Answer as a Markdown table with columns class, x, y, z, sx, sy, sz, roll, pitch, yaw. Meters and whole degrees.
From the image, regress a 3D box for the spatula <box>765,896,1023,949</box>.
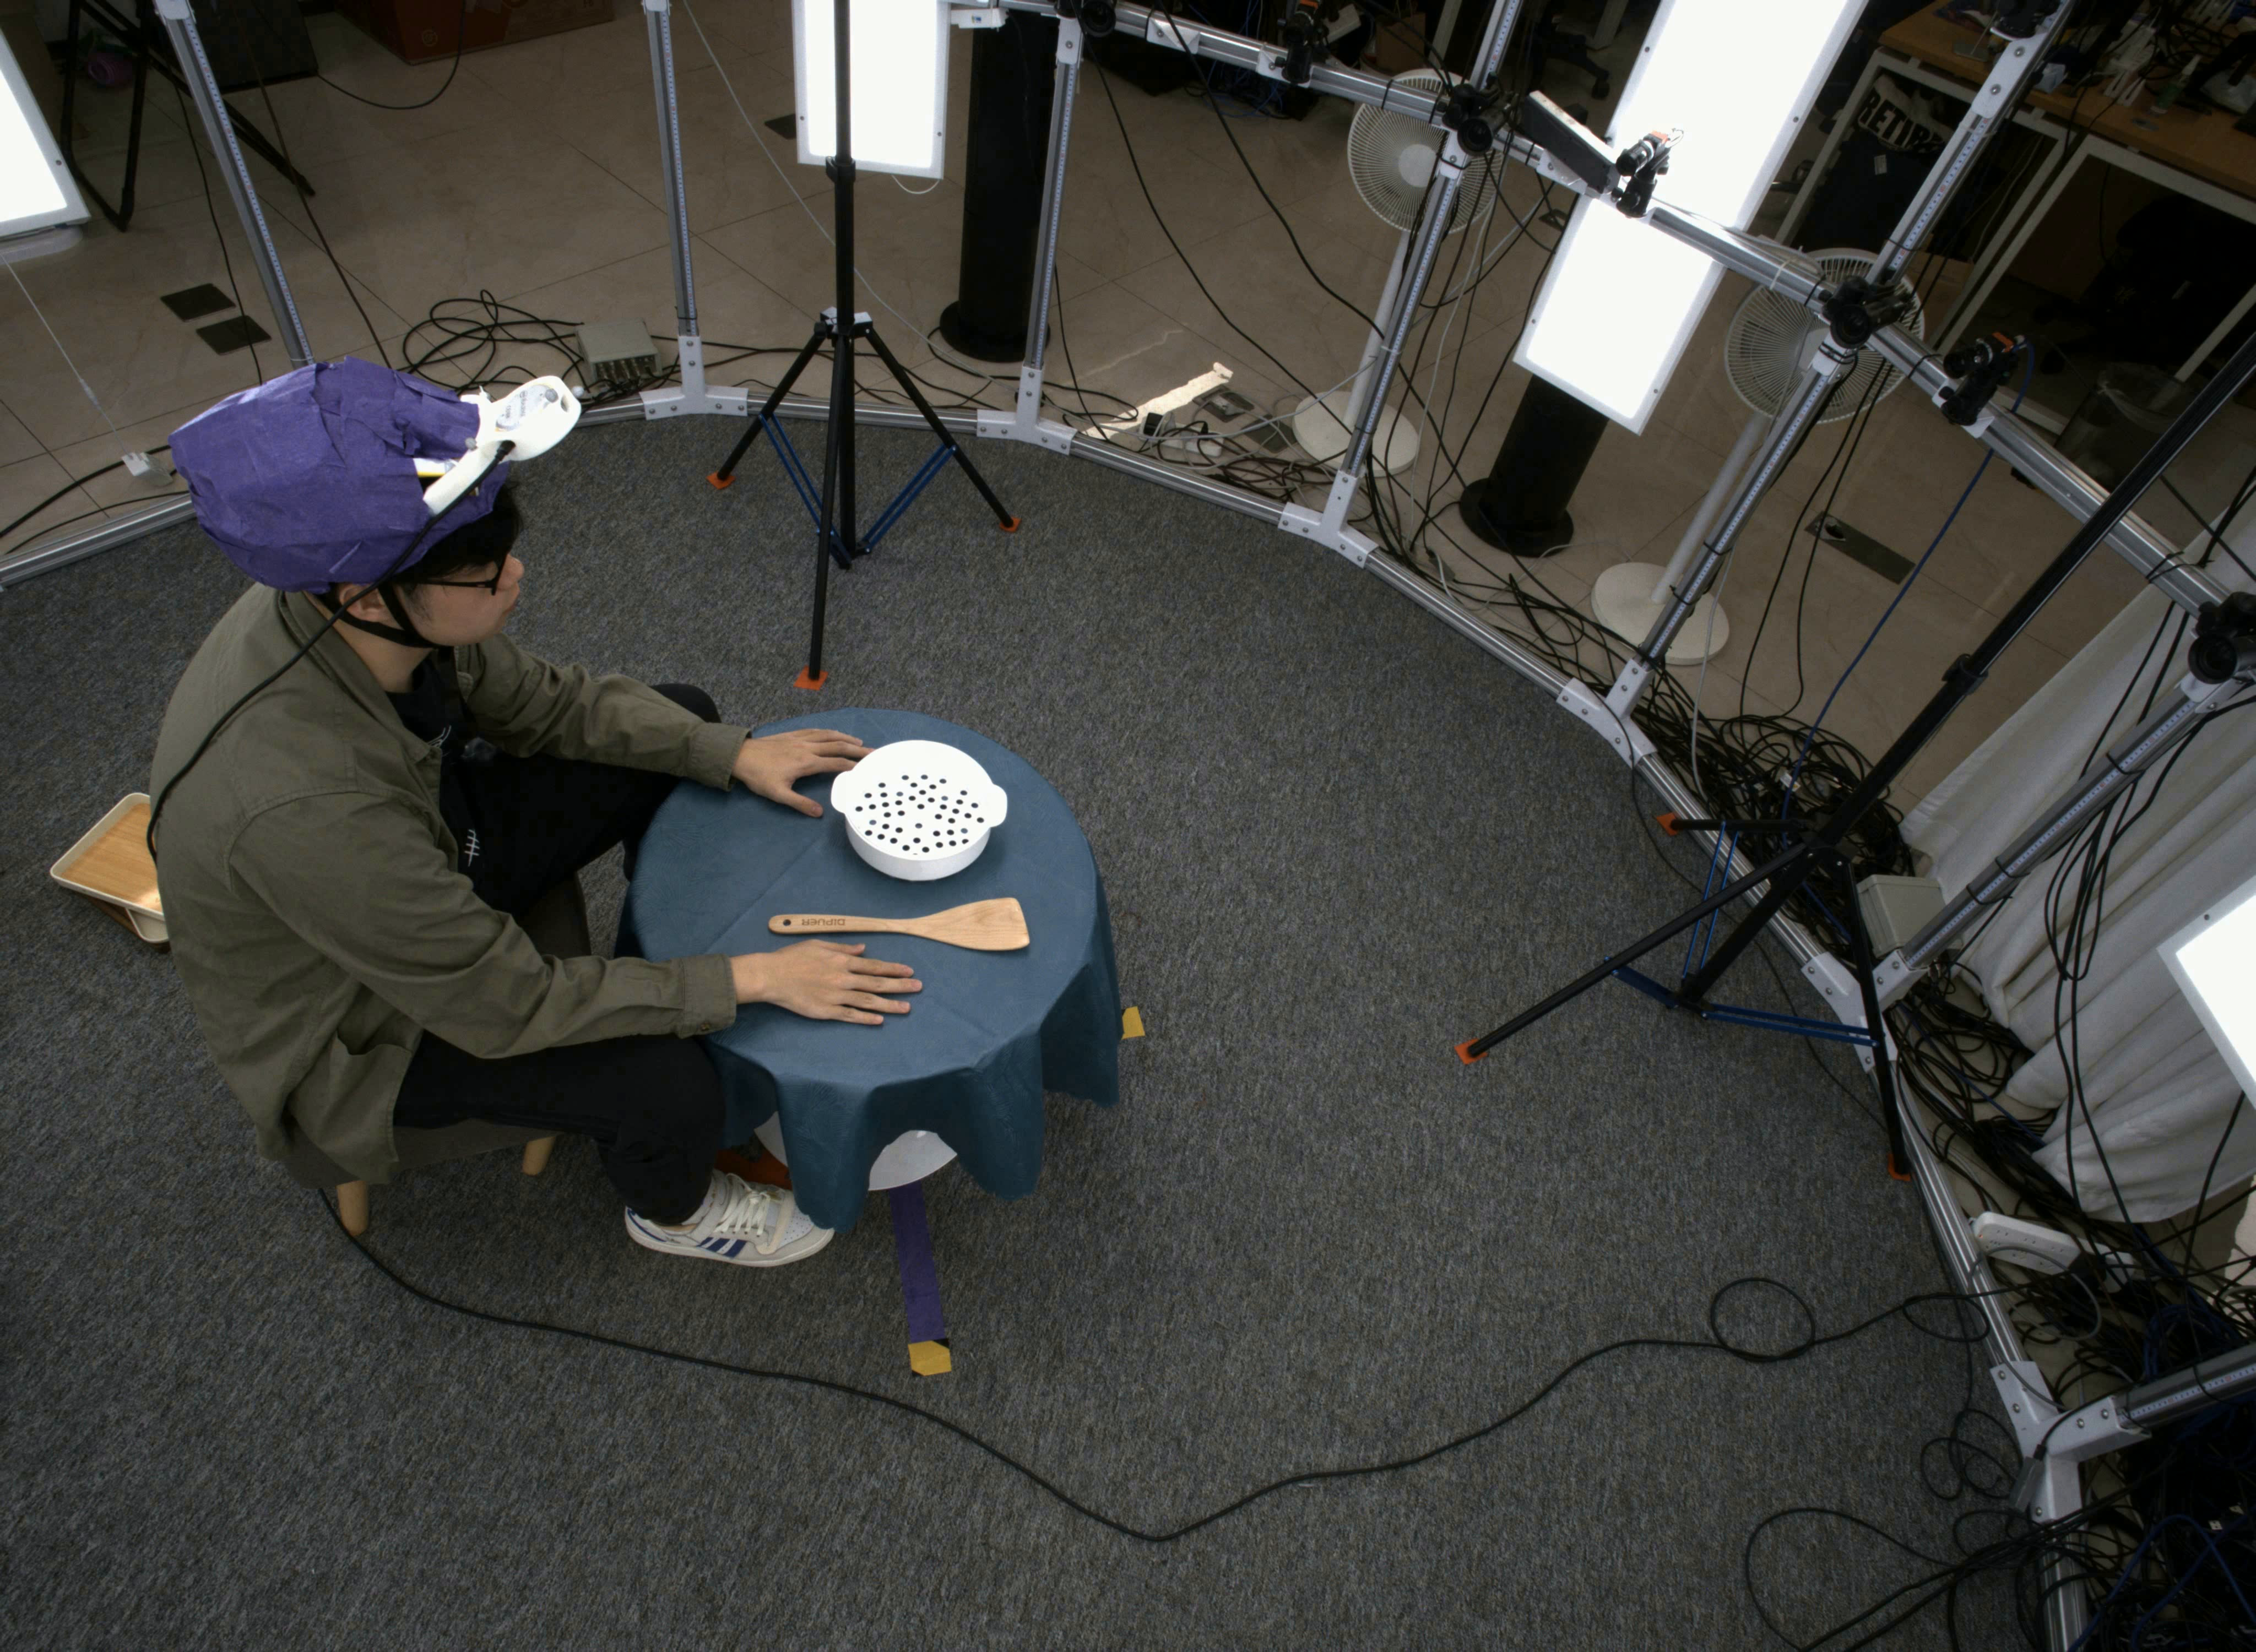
| class | x | y | z | sx | sy | sz | roll | pitch | yaw |
| --- | --- | --- | --- | --- | --- | --- | --- | --- | --- |
| spatula | -0.299 | 0.122 | 1.670 | 0.328 | 0.017 | 0.078 | 1 | 53 | -13 |

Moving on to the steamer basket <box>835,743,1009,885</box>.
| class | x | y | z | sx | sy | sz | roll | pitch | yaw |
| --- | --- | --- | --- | --- | --- | --- | --- | --- | --- |
| steamer basket | -0.275 | -0.017 | 1.748 | 0.230 | 0.071 | 0.198 | 5 | 52 | -8 |
